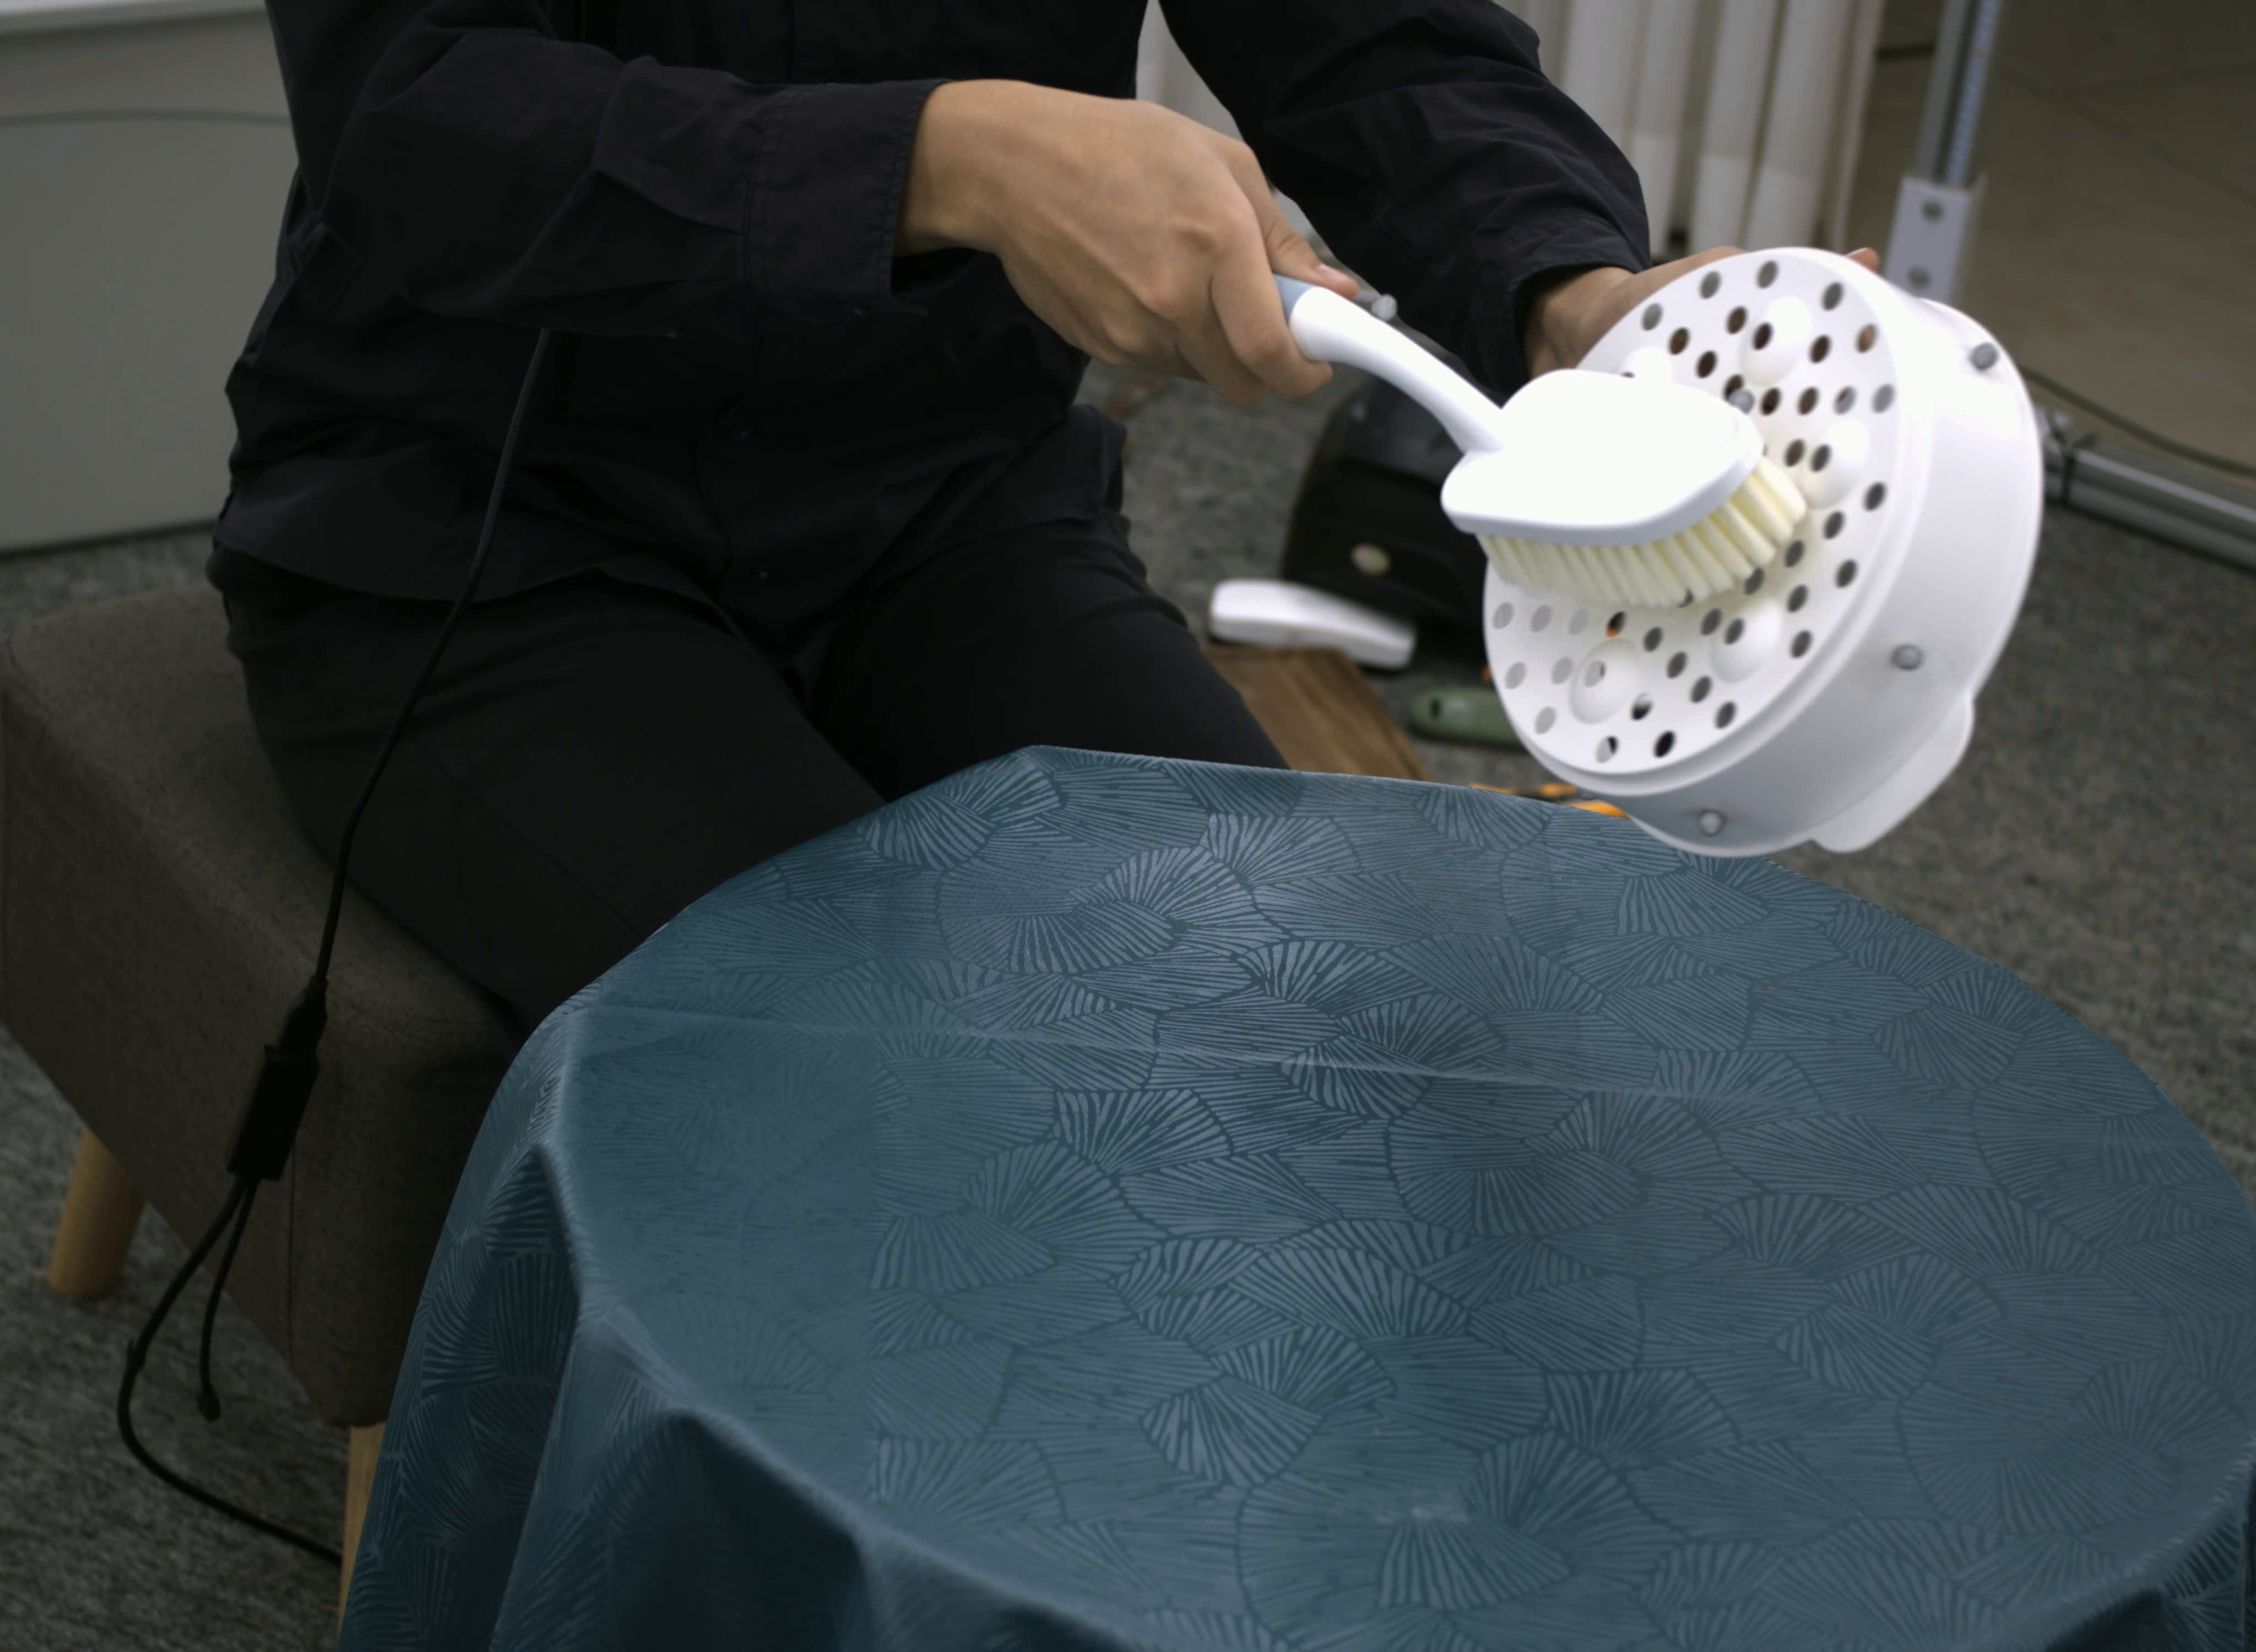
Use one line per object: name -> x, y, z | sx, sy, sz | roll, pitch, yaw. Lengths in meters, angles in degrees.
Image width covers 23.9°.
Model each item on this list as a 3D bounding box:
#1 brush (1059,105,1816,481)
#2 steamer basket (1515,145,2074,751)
brush -> 0.105, -0.178, 1.810 | 0.082, 0.084, 0.328 | -13, 26, -42
steamer basket -> 0.216, -0.129, 1.770 | 0.068, 0.202, 0.233 | 26, 31, -36
